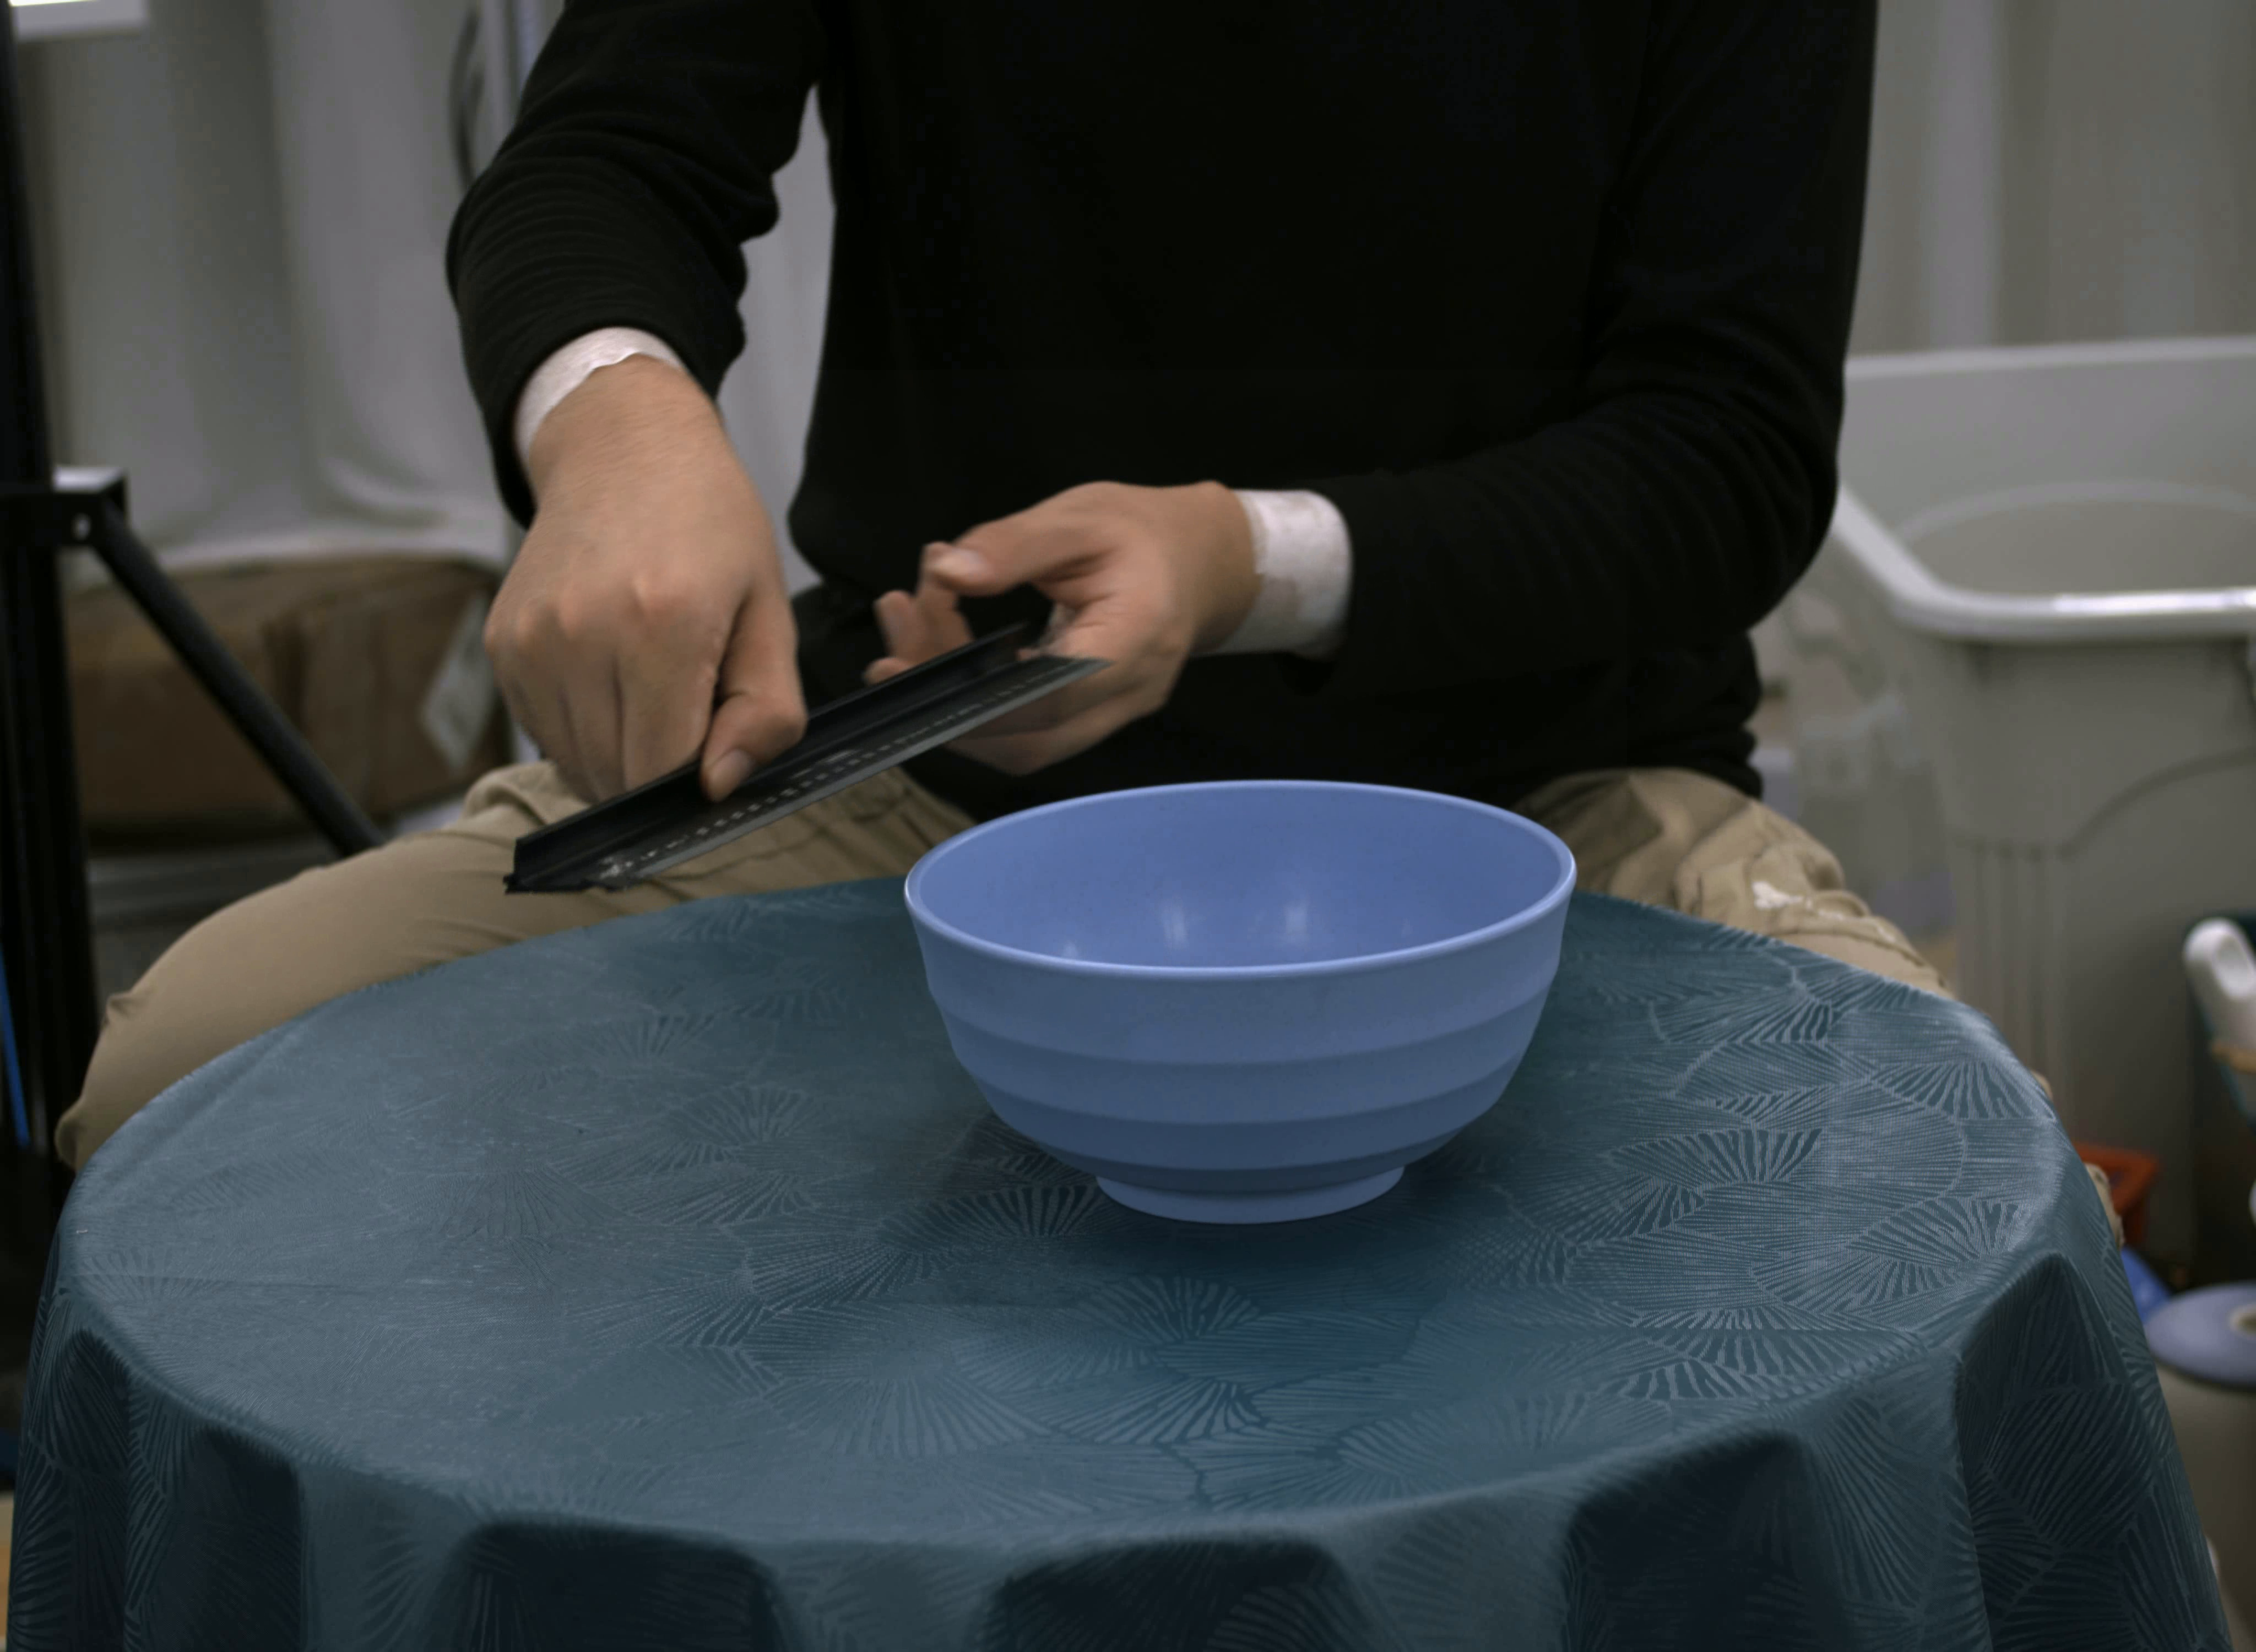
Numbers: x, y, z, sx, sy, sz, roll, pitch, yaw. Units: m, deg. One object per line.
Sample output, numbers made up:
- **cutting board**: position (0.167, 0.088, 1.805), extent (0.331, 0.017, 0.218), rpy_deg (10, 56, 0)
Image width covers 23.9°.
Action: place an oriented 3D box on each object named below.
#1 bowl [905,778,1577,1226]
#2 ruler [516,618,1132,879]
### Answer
- **bowl**: position (0.034, 0.057, 1.557), extent (0.195, 0.095, 0.197), rpy_deg (-3, 16, -1)
- **ruler**: position (-0.082, -0.026, 1.561), extent (0.040, 0.017, 0.307), rpy_deg (3, 14, 27)
